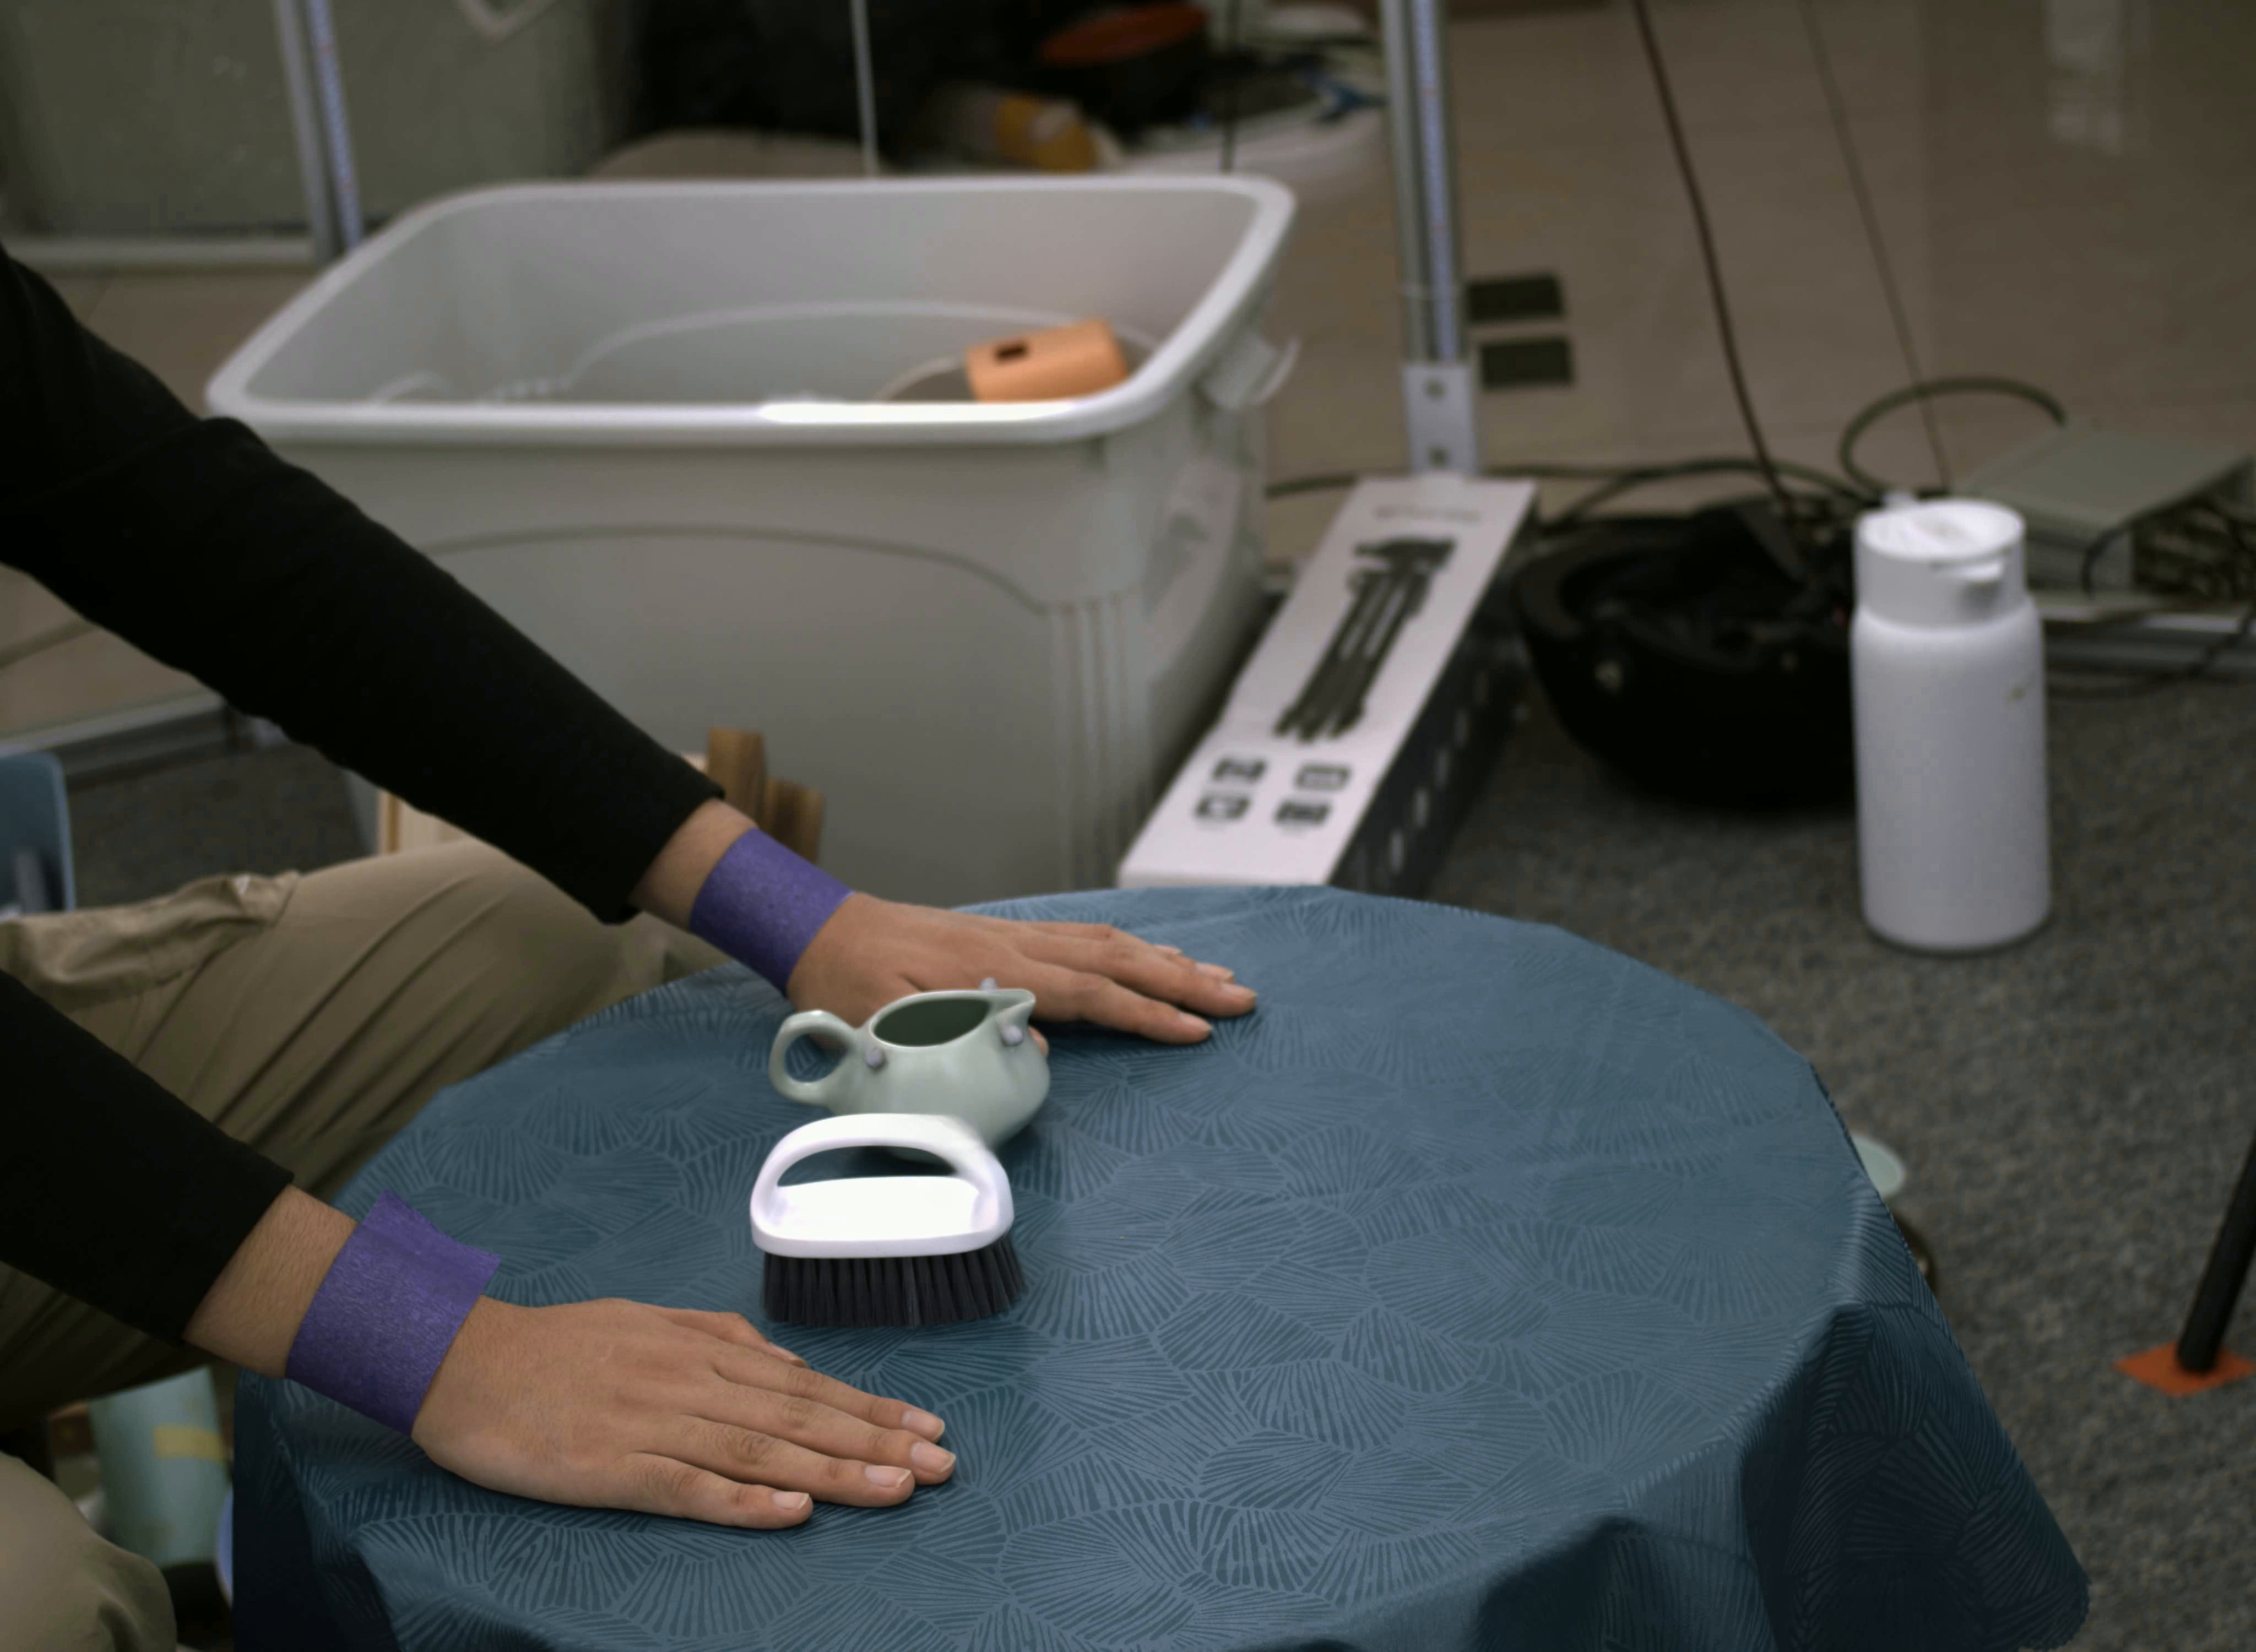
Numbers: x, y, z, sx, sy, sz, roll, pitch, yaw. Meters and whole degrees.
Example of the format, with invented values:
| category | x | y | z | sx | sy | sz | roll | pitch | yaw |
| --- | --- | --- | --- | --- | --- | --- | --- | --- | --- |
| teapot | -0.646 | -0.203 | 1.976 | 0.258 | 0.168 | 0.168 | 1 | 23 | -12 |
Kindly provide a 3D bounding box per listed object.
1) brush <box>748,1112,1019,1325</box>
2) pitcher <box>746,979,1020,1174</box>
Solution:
| category | x | y | z | sx | sy | sz | roll | pitch | yaw |
| --- | --- | --- | --- | --- | --- | --- | --- | --- | --- |
| brush | -0.091 | 0.140 | 2.078 | 0.099 | 0.073 | 0.049 | 0 | 25 | 11 |
| pitcher | -0.096 | 0.093 | 2.191 | 0.108 | 0.061 | 0.084 | 14 | 39 | 3 |
